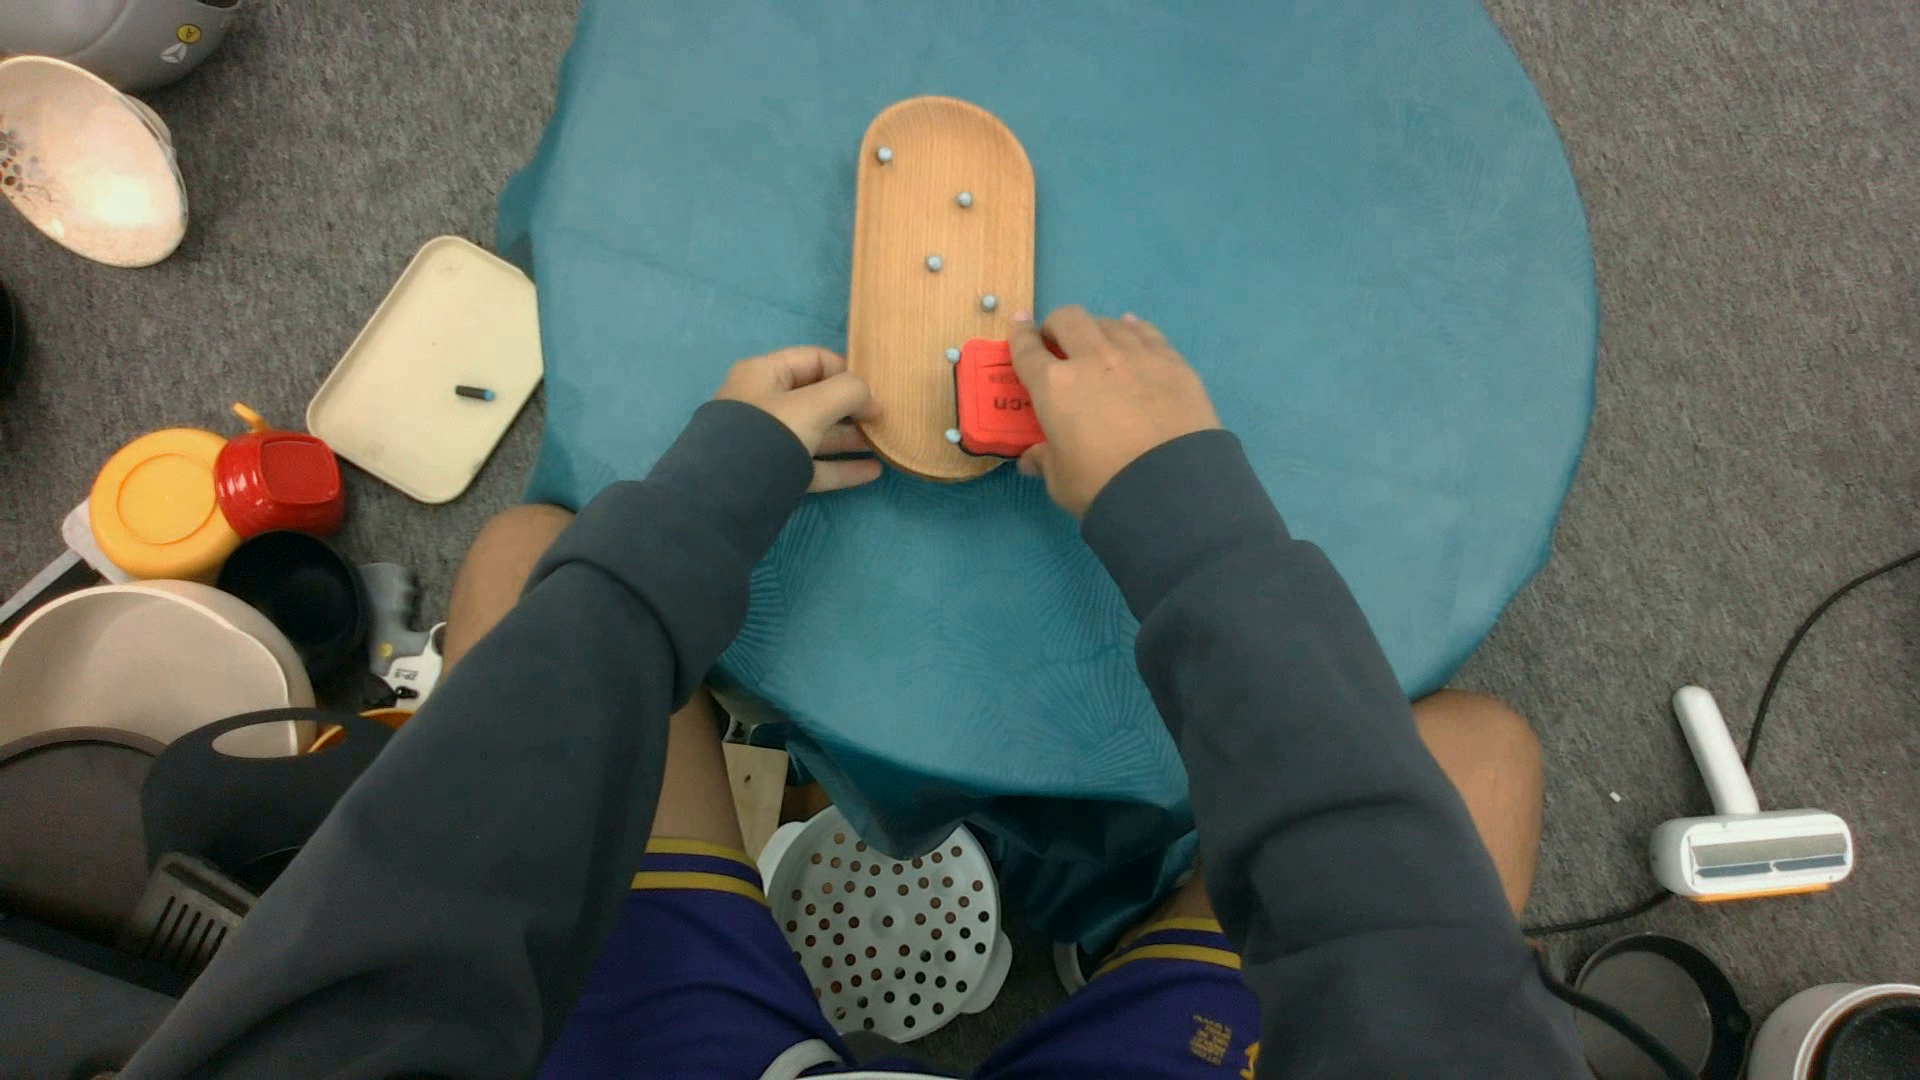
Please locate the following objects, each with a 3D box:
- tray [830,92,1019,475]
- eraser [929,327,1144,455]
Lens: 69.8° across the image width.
[{"bbox_3d":[-0.018,-0.142,0.742,0.102,0.020,0.232,6,70,-15],"label":"tray"},{"bbox_3d":[0.040,-0.076,0.710,0.108,0.023,0.059,3,65,-17],"label":"eraser"}]
